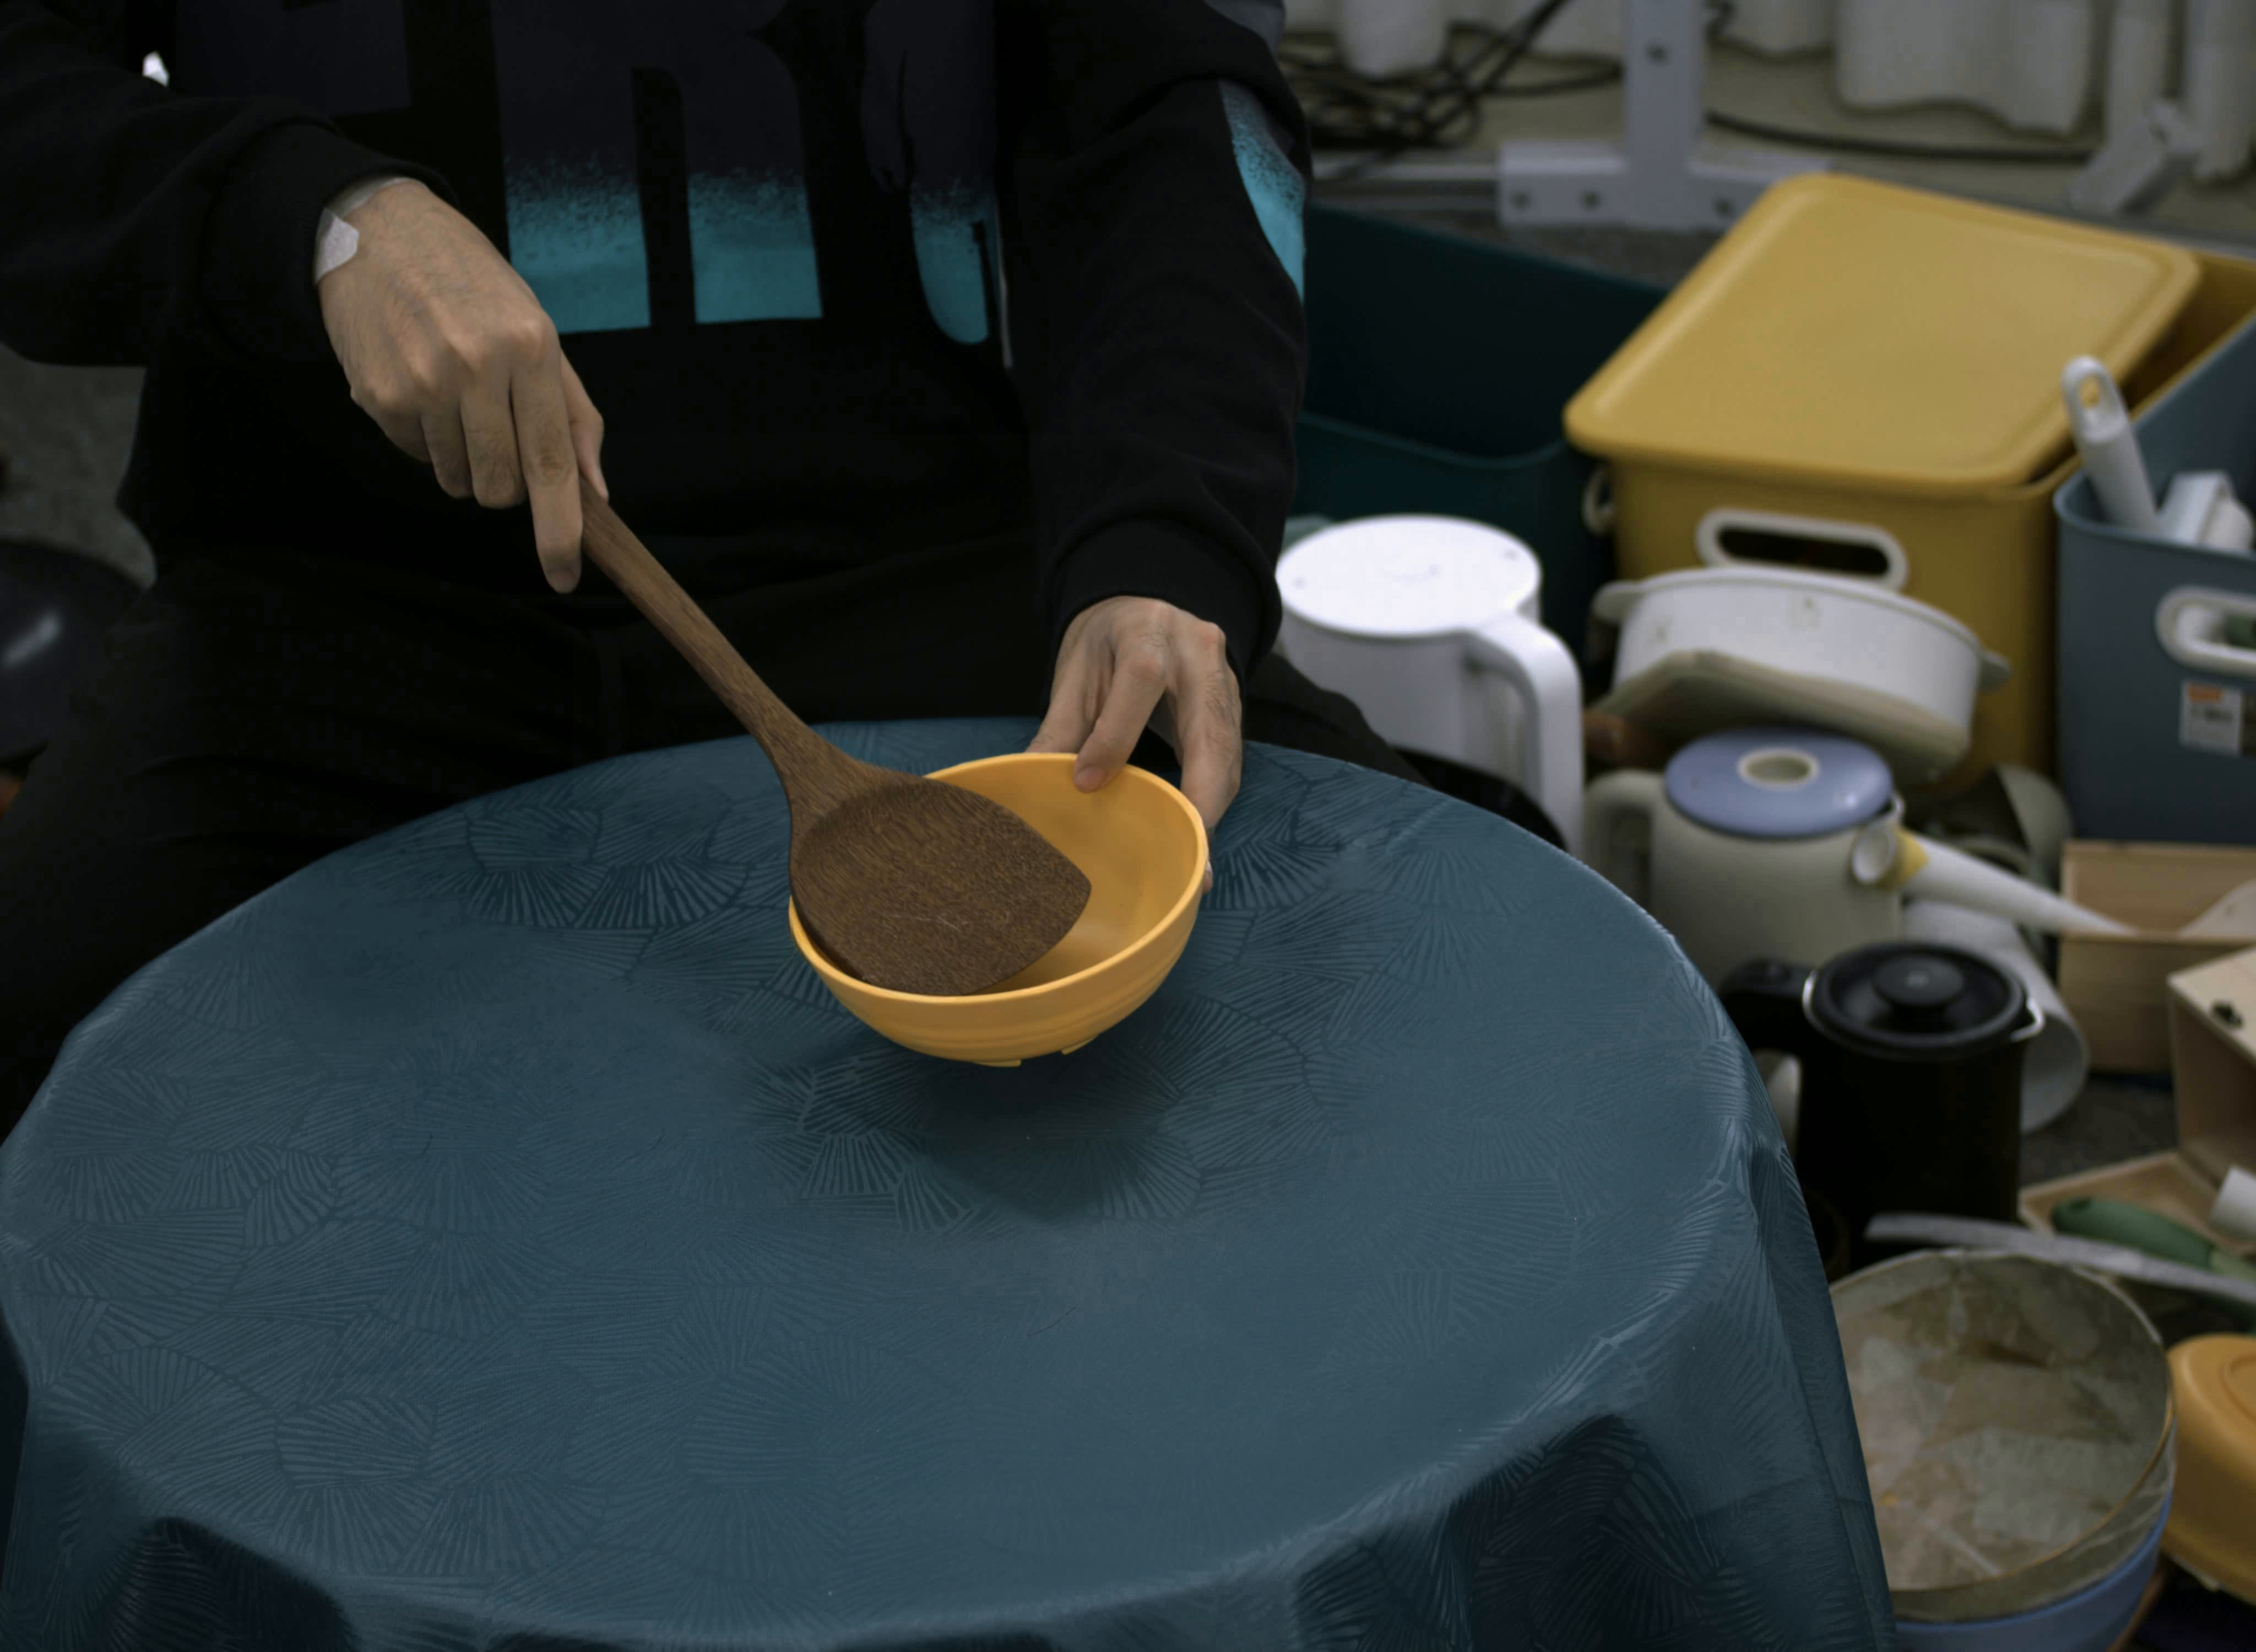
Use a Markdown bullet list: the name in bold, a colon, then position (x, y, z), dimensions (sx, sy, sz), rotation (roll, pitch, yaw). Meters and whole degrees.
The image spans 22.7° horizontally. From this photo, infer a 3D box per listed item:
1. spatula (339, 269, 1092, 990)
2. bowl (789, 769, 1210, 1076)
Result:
- **spatula**: position (-0.160, -0.075, 1.974), dimensions (0.097, 0.015, 0.388), rotation (-28, 62, -32)
- **bowl**: position (-0.040, 0.043, 1.922), dimensions (0.144, 0.059, 0.148), rotation (-6, 31, 4)
